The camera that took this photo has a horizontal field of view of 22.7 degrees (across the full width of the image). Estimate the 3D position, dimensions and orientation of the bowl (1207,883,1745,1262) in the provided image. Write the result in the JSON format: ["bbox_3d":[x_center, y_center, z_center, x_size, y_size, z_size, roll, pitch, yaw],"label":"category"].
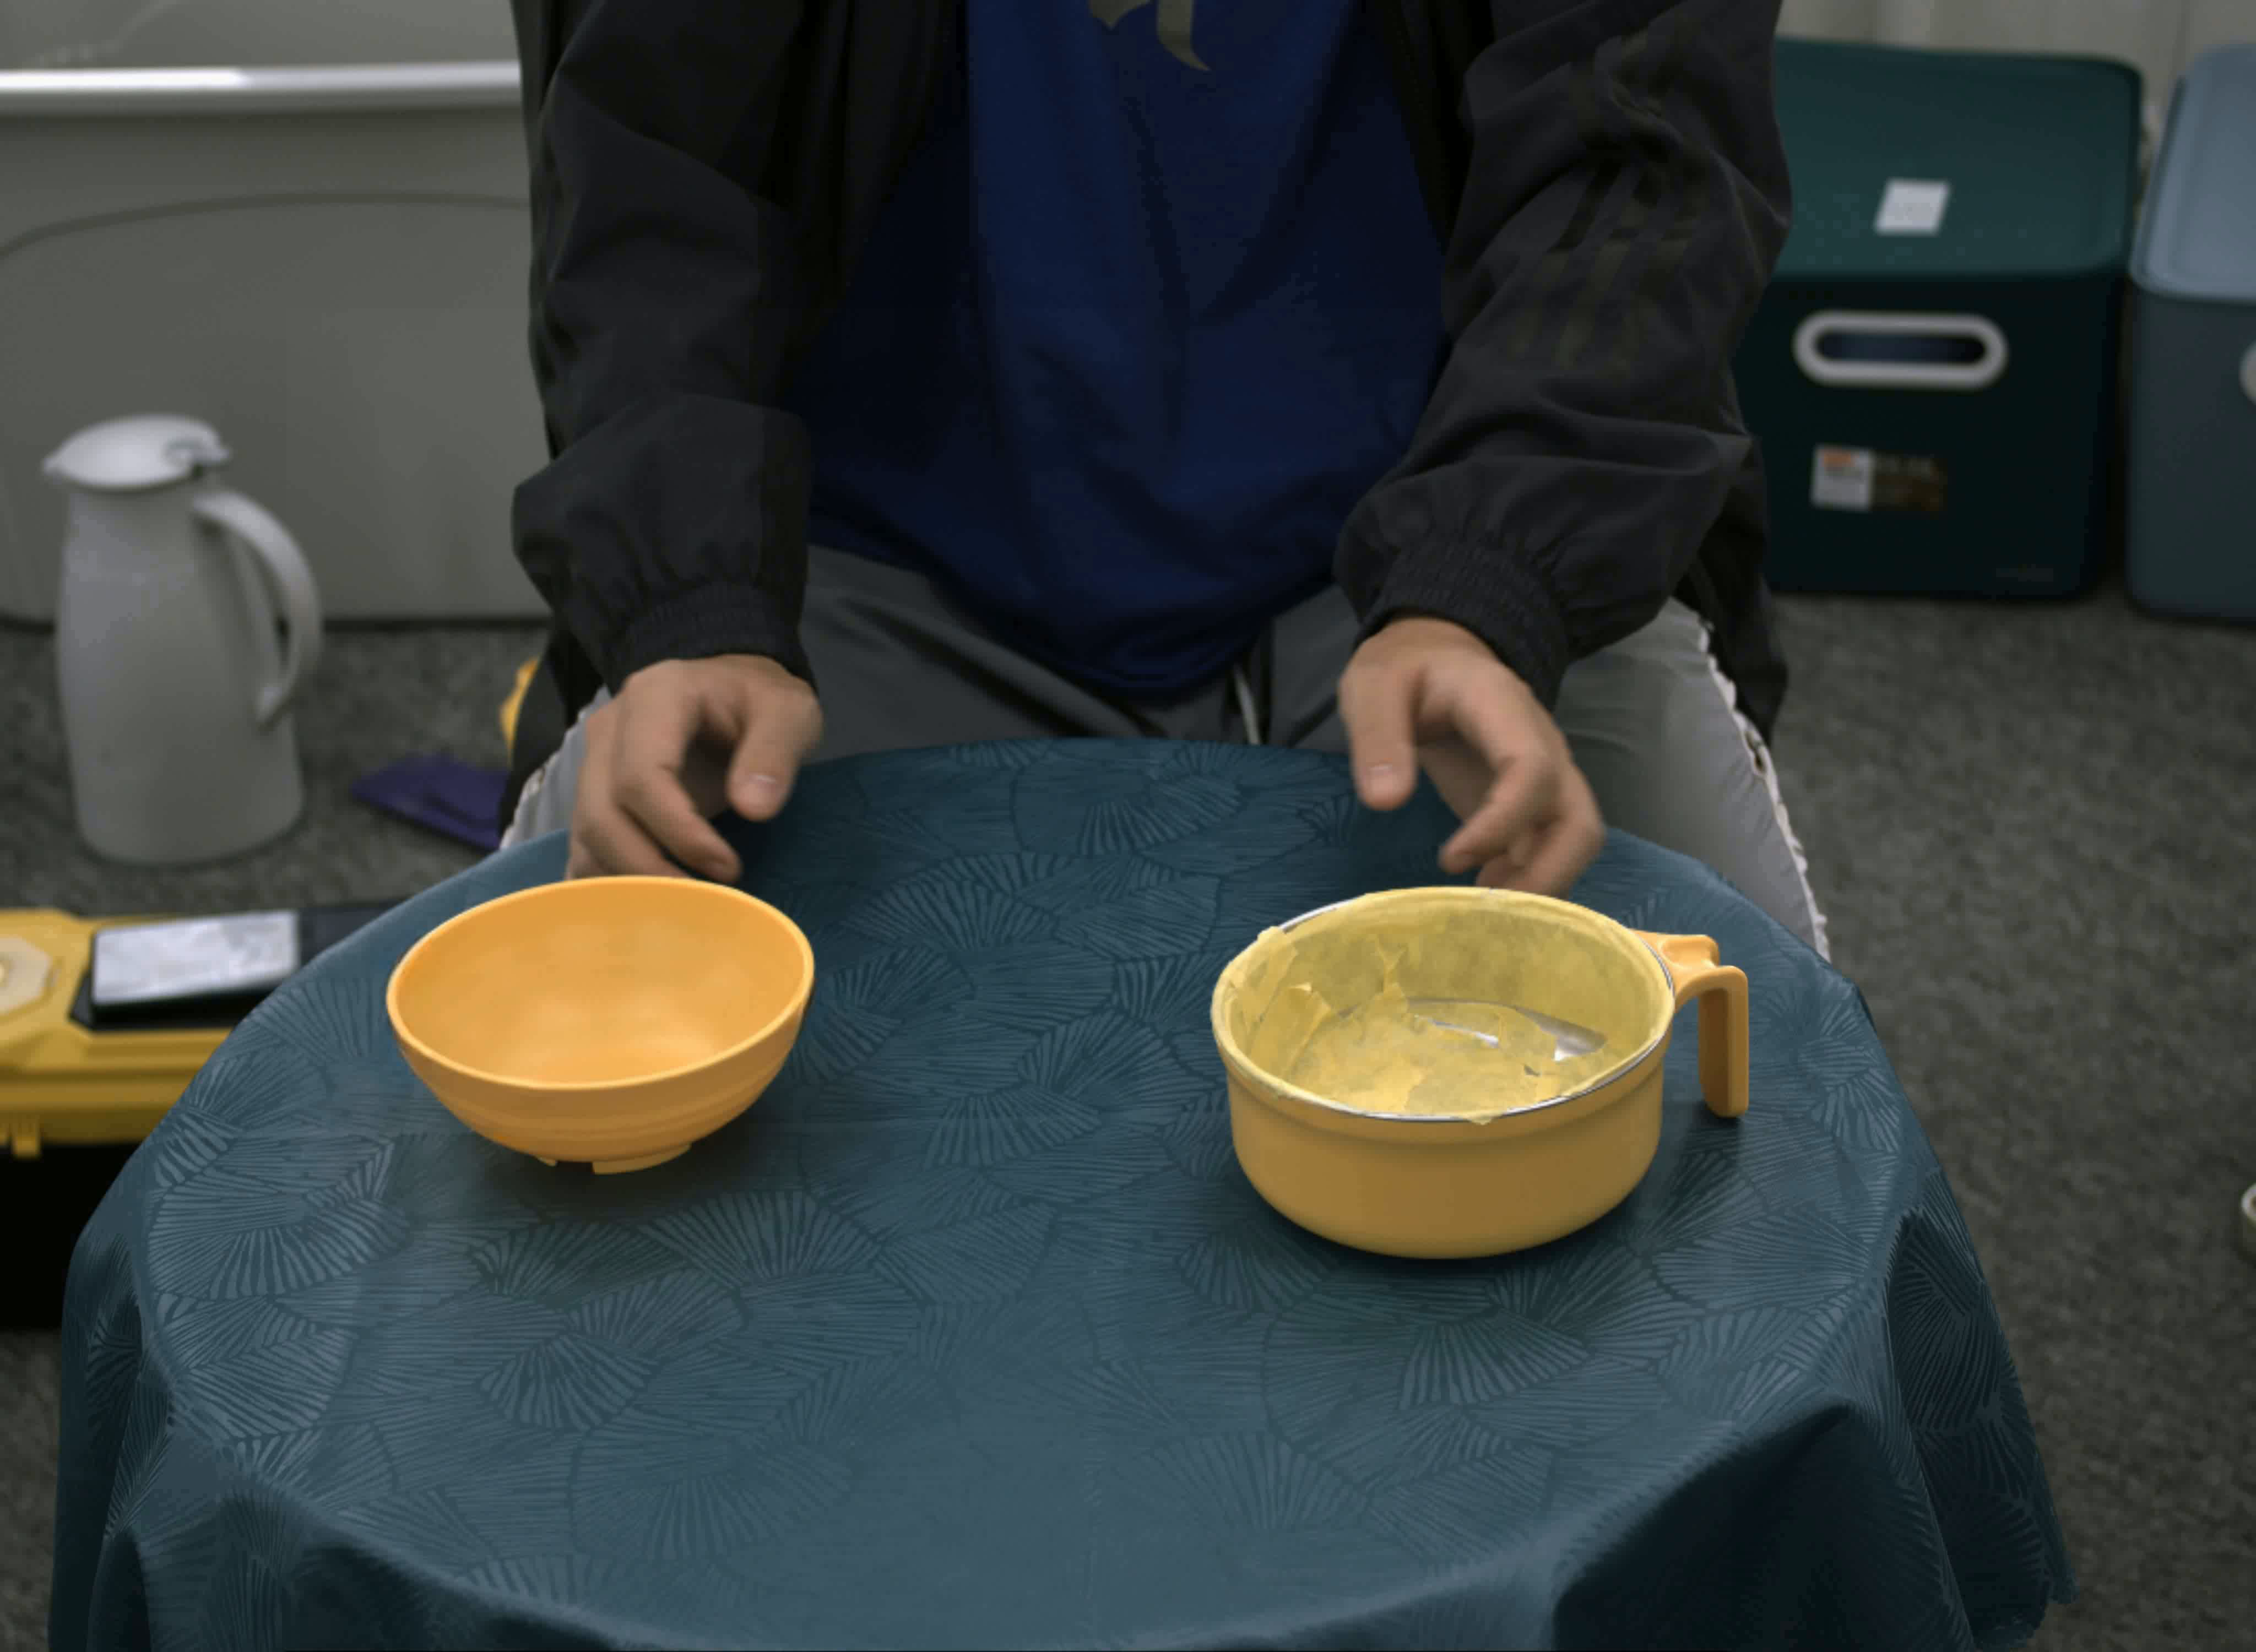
[{"bbox_3d":[0.117,0.082,1.852,0.180,0.073,0.154,-14,26,-18],"label":"bowl"}]

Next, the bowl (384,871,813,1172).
[{"bbox_3d":[-0.178,0.076,1.904,0.144,0.059,0.147,0,28,0],"label":"bowl"}]
